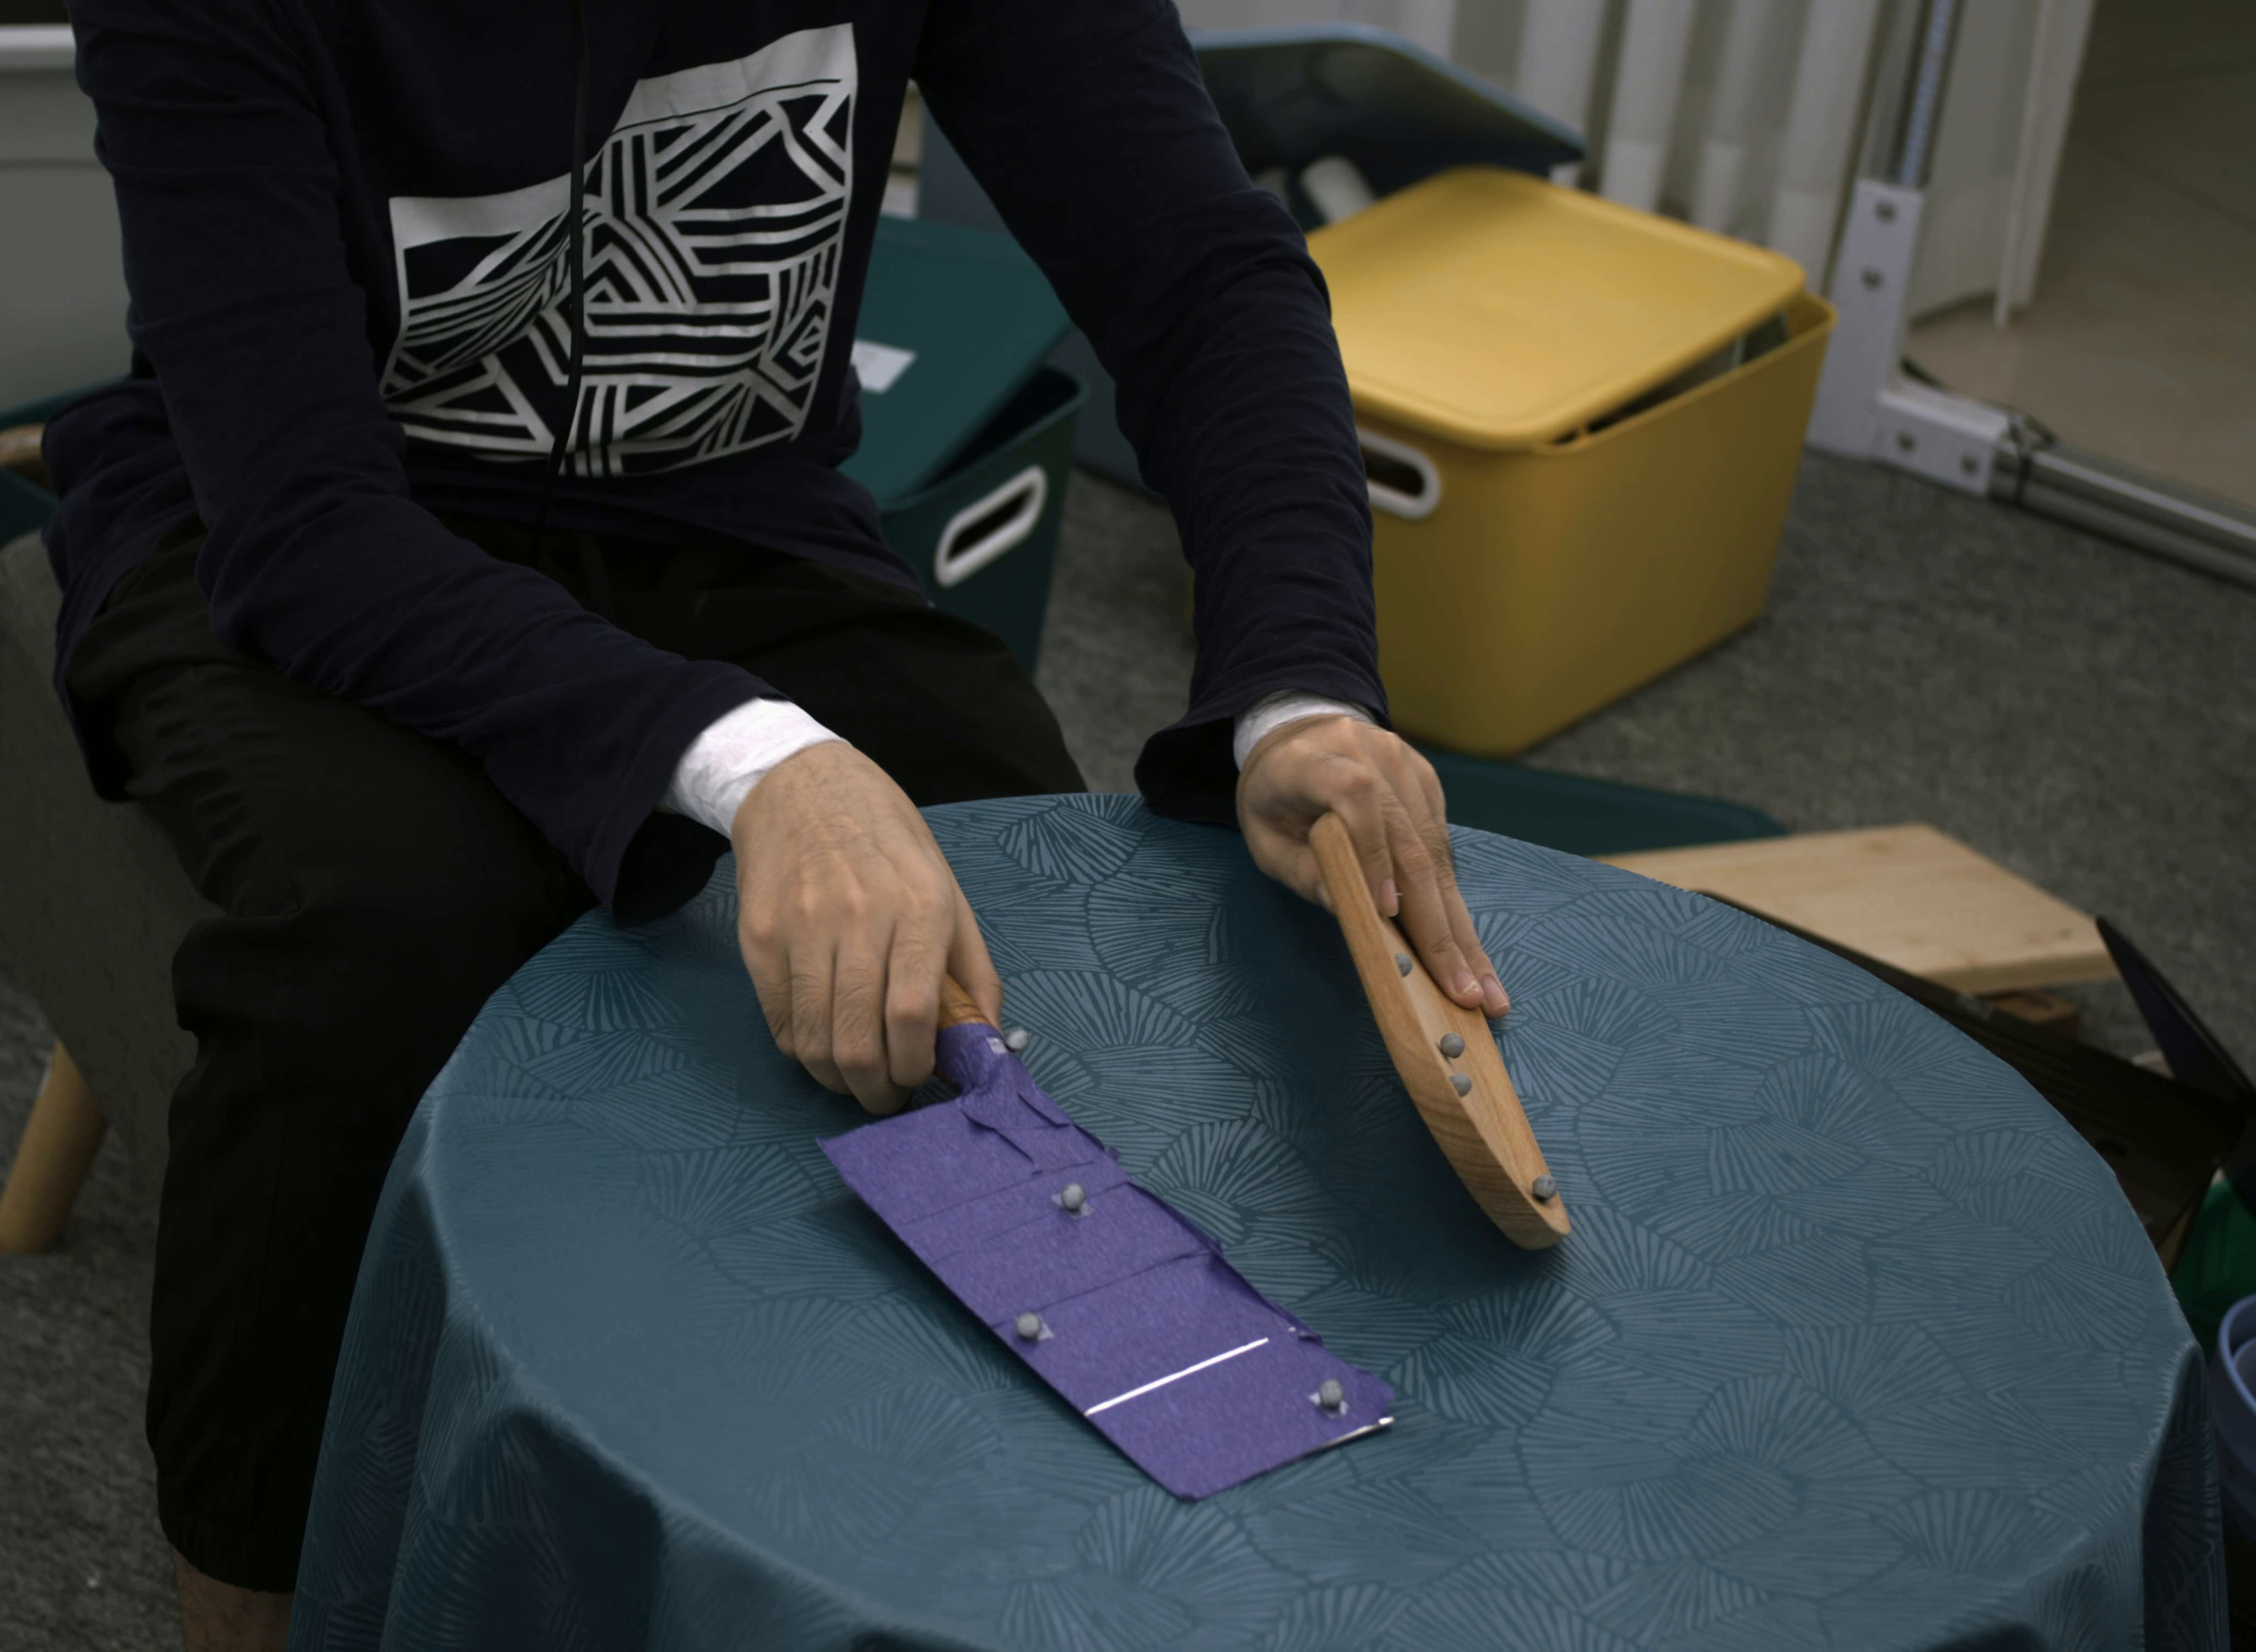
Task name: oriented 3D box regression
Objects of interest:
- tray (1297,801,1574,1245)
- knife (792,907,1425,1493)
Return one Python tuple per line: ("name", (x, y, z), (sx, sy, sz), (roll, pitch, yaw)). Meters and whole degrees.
("tray", (0.104, 0.067, 1.851), (0.020, 0.101, 0.233), (-35, 29, 7))
("knife", (-0.037, 0.119, 1.762), (0.103, 0.032, 0.318), (-15, 37, -35))
